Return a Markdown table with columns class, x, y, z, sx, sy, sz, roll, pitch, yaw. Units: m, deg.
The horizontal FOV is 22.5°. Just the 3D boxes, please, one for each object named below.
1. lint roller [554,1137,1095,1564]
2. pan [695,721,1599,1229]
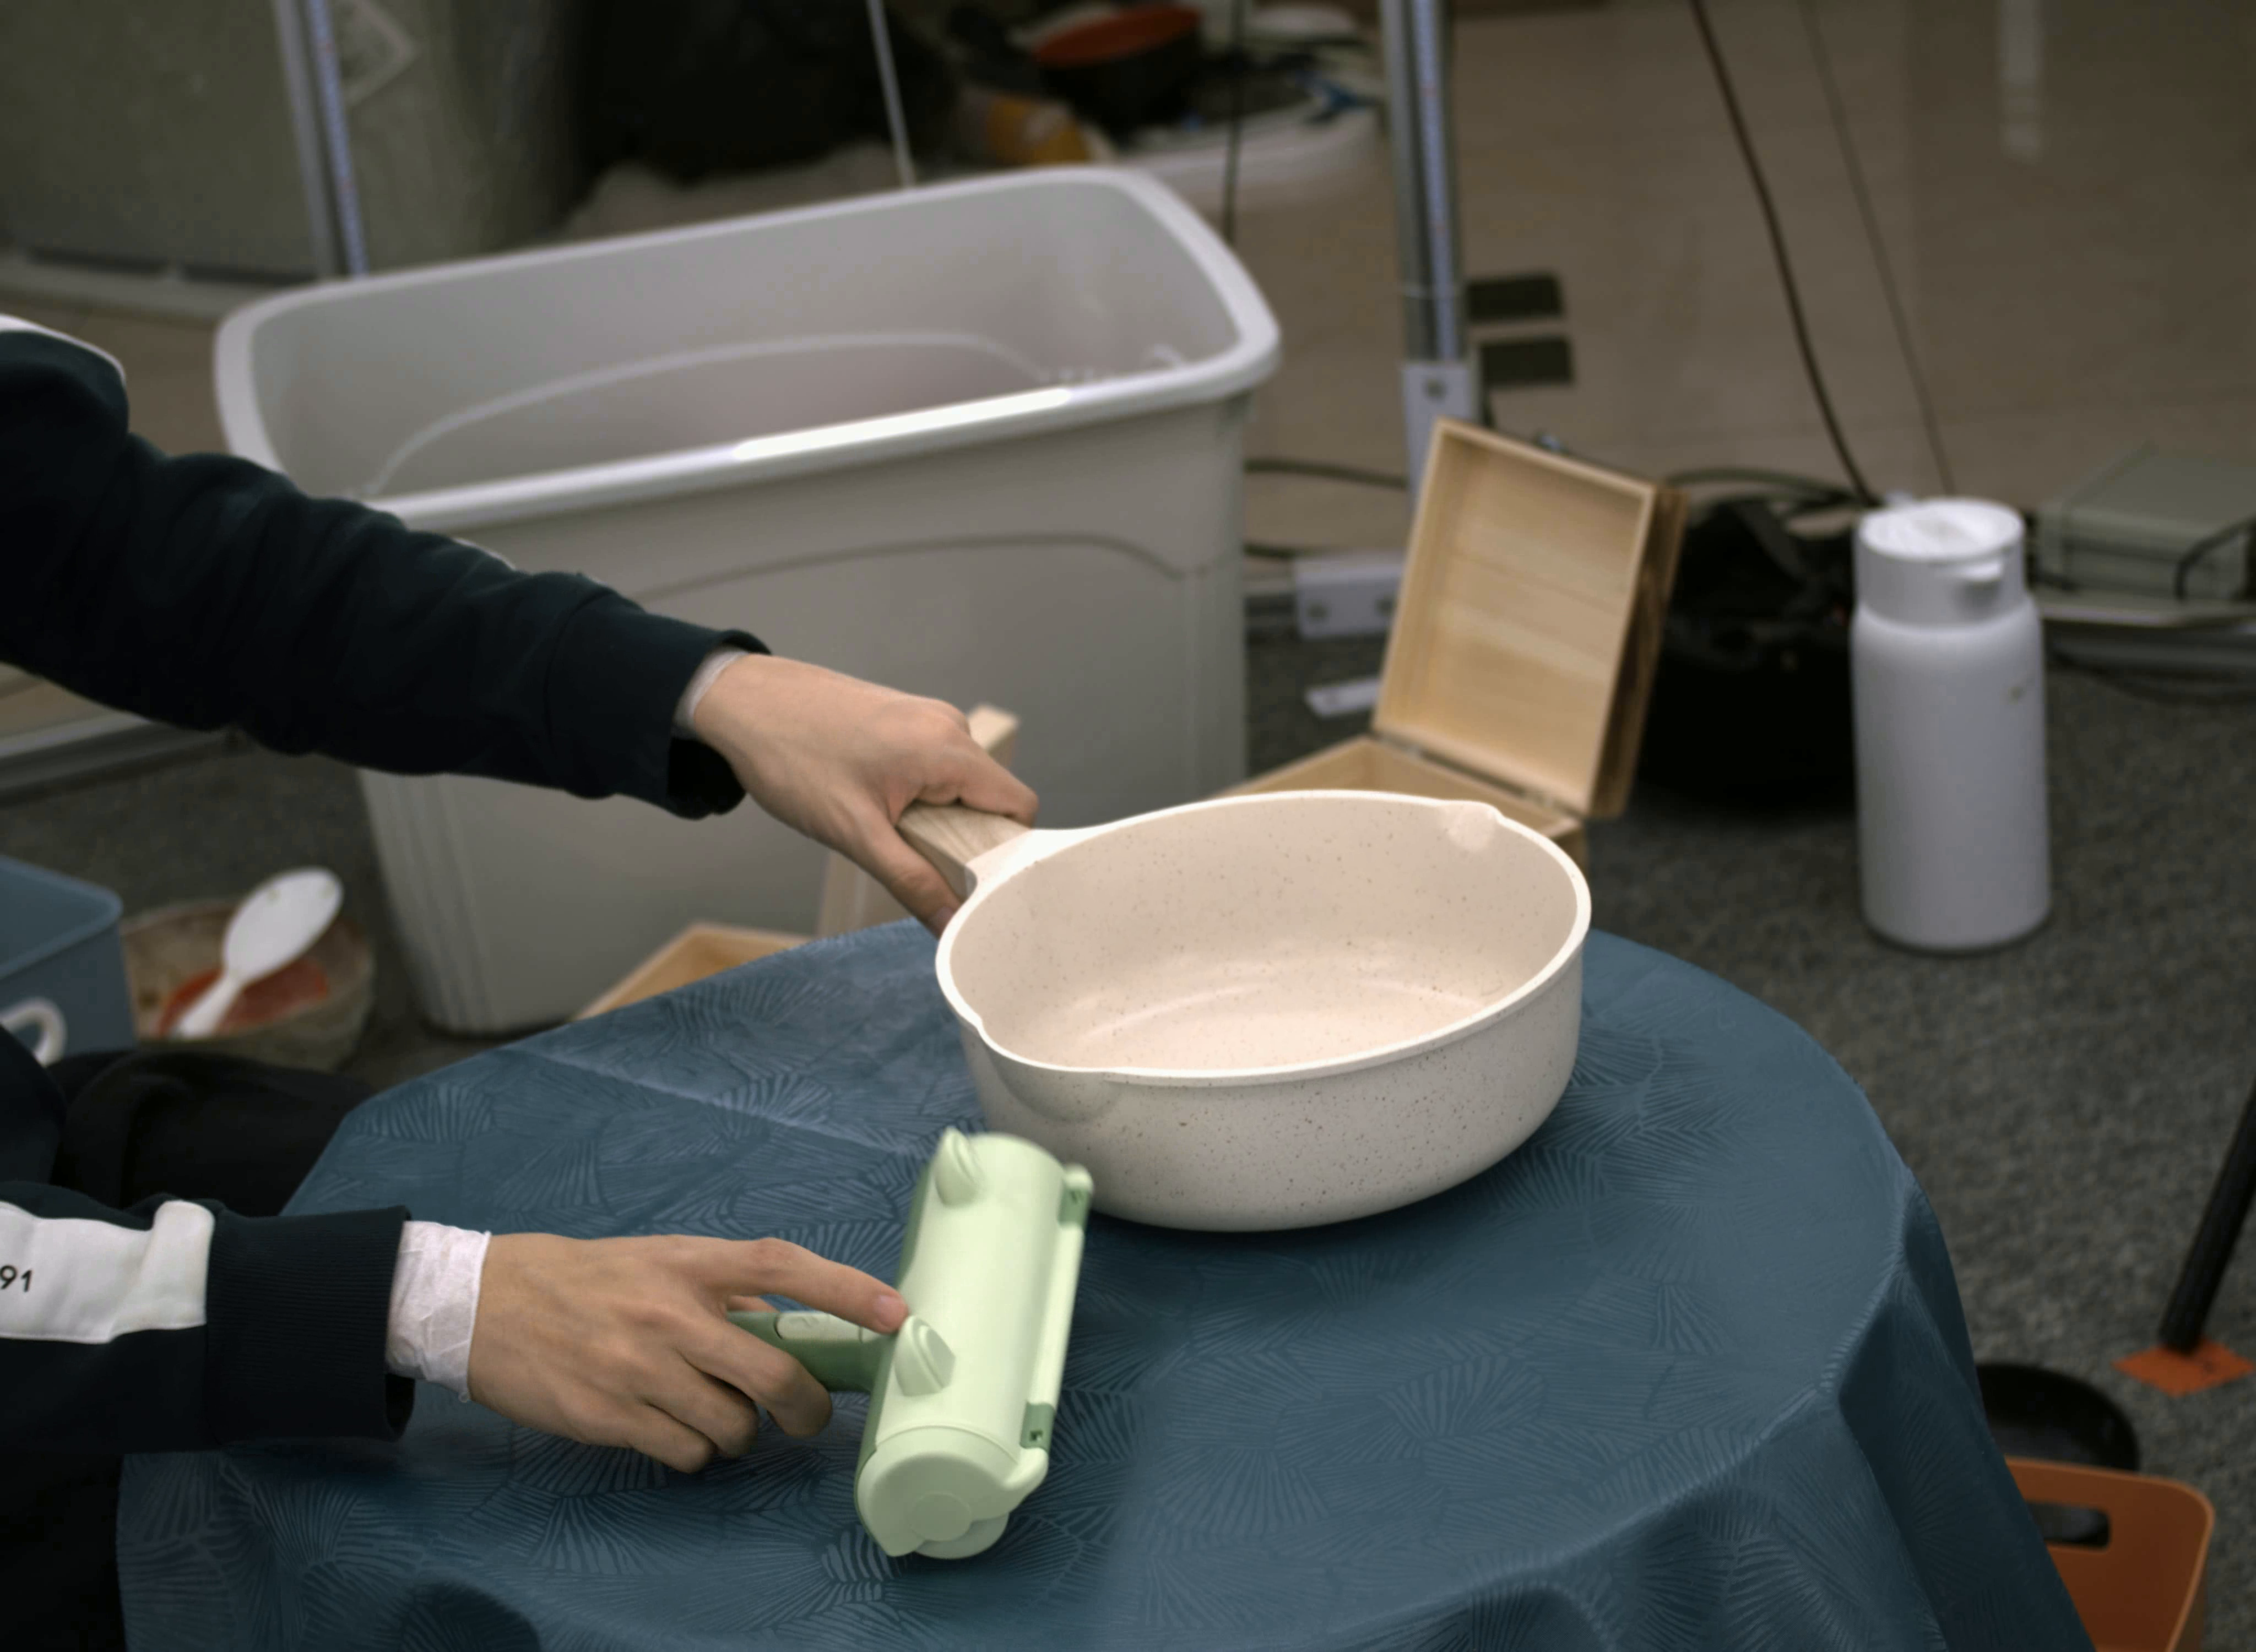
| class | x | y | z | sx | sy | sz | roll | pitch | yaw |
| --- | --- | --- | --- | --- | --- | --- | --- | --- | --- |
| lint roller | -0.111 | 0.172 | 1.982 | 0.183 | 0.083 | 0.195 | 4 | 29 | 4 |
| pan | -0.009 | 0.046 | 2.226 | 0.432 | 0.103 | 0.261 | 16 | 35 | 41 |
